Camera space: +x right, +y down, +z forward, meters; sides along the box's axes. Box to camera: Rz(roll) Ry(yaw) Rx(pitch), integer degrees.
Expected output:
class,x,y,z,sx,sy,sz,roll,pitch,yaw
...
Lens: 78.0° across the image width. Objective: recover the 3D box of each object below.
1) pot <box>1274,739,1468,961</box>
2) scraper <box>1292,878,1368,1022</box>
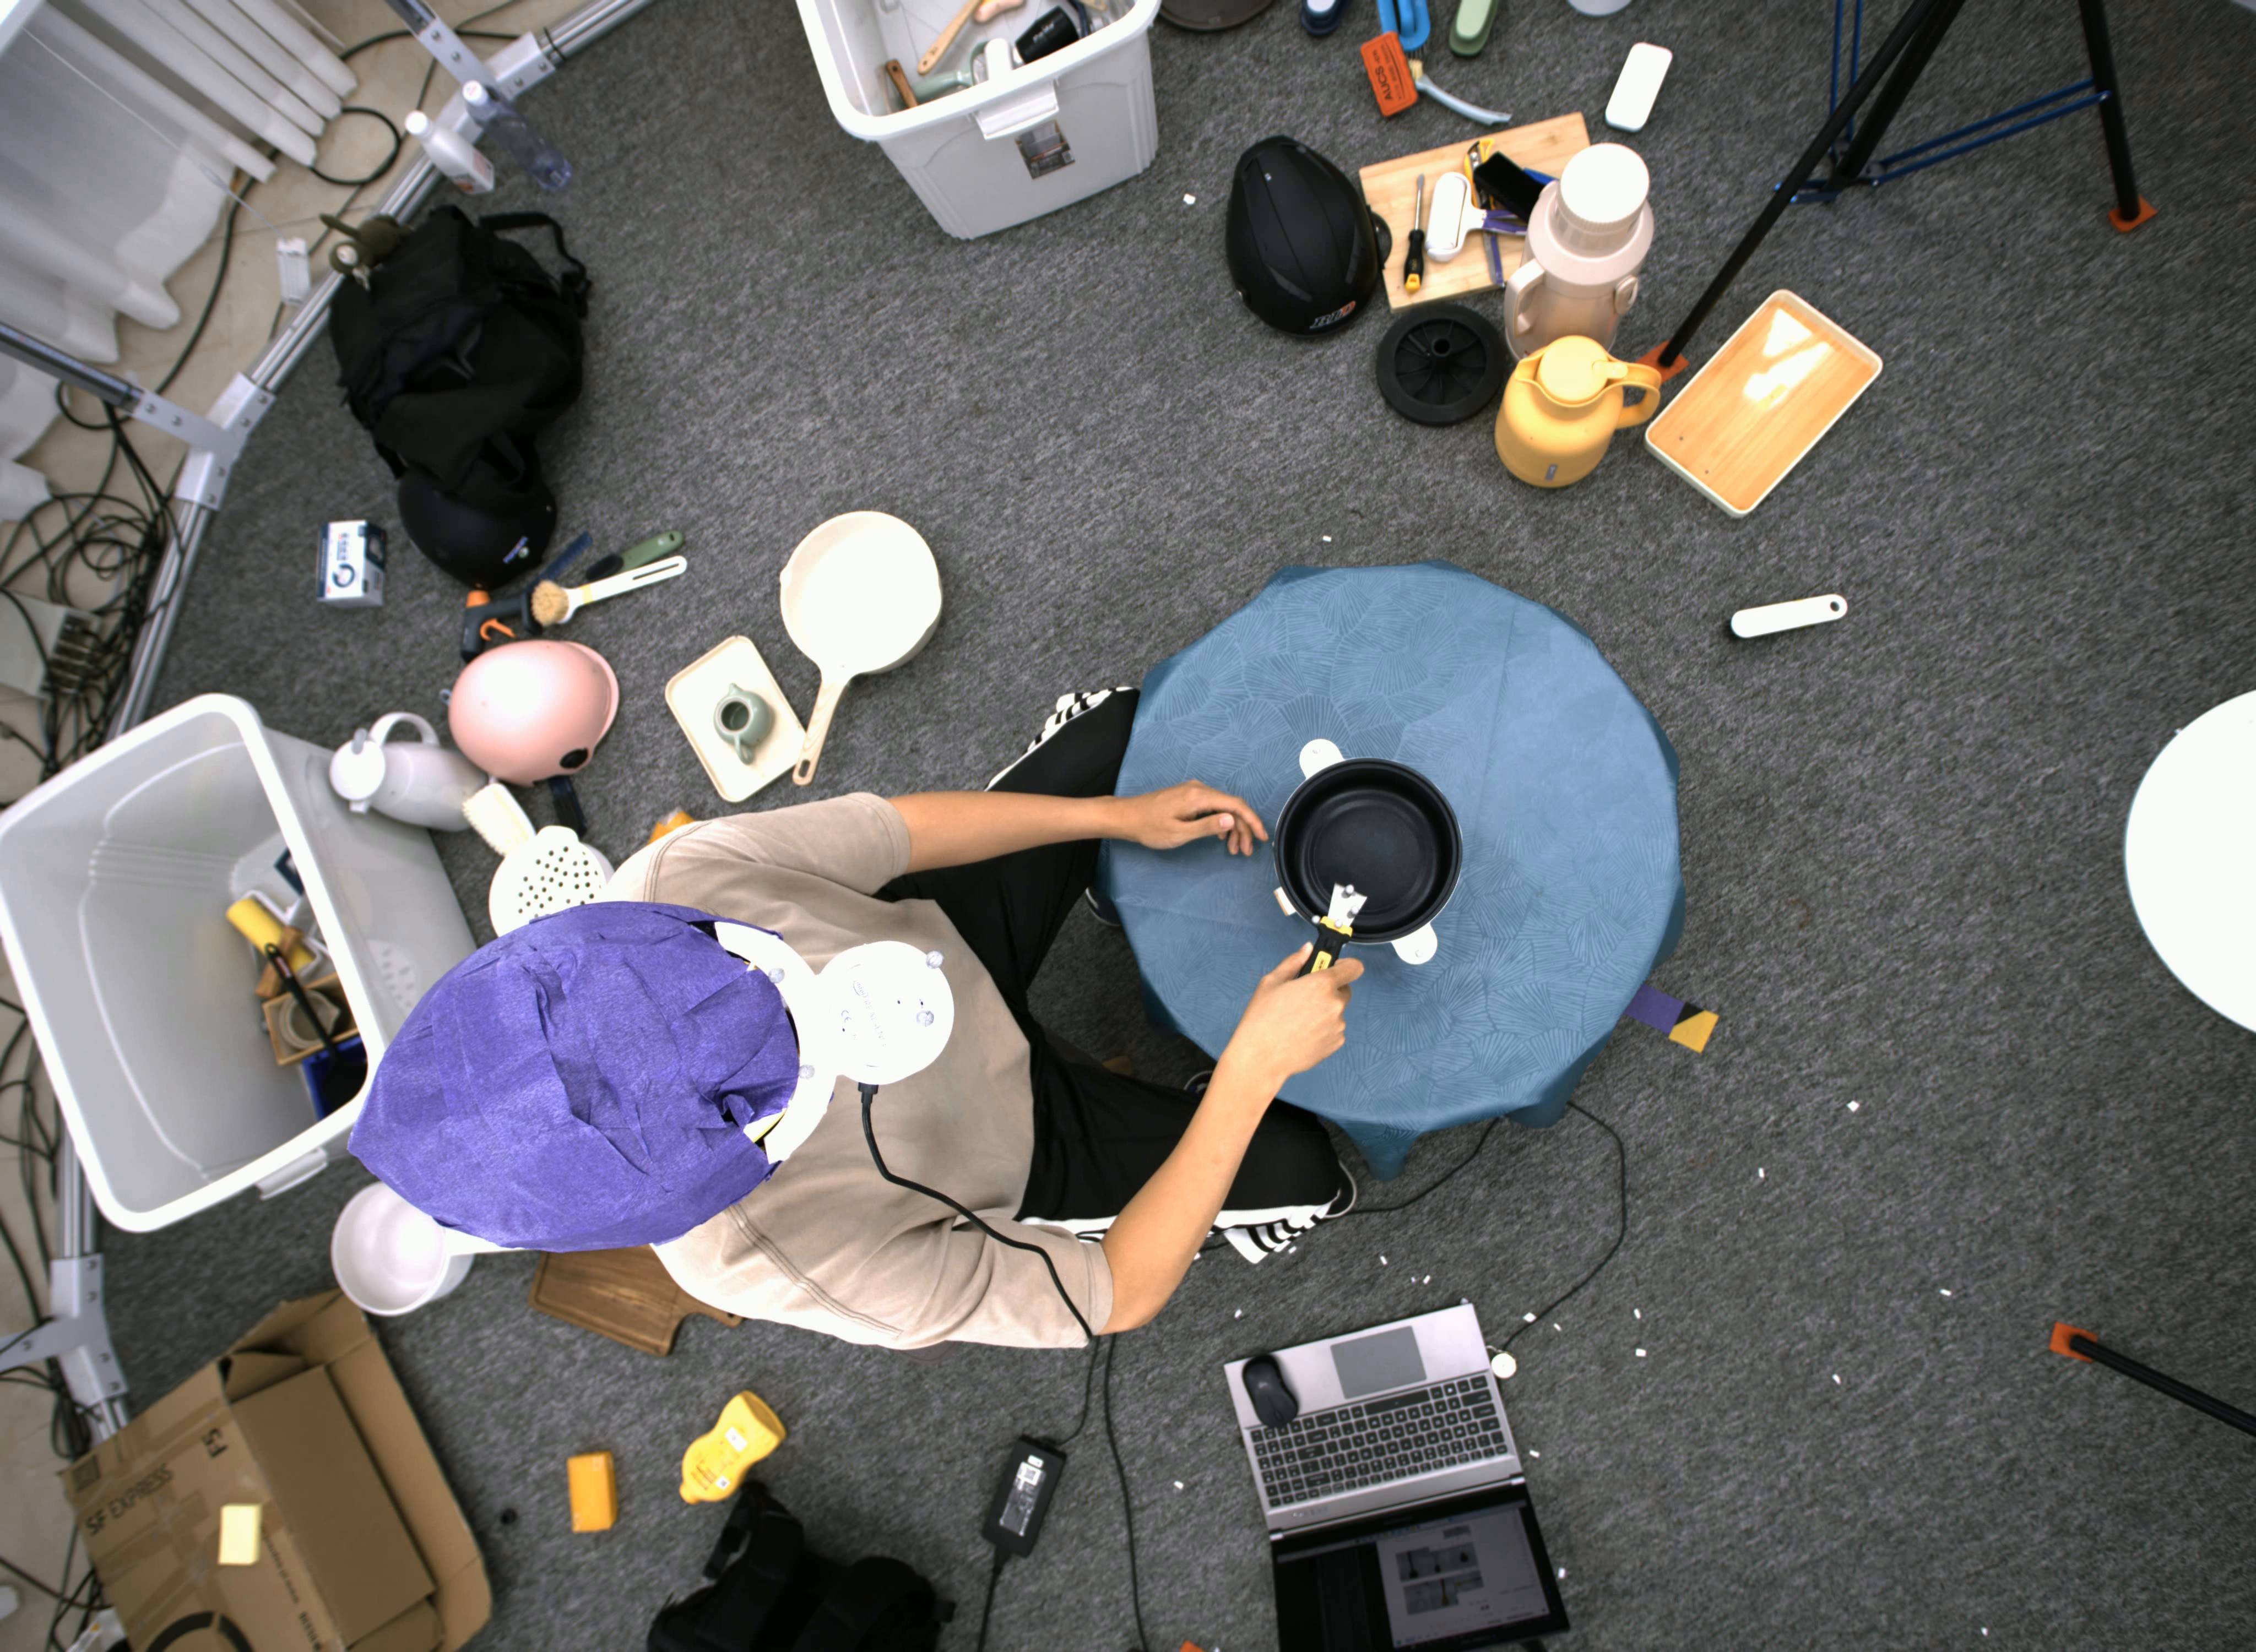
class,x,y,z,sx,sy,sz,roll,pitch,yaw
pot,0.238,0.032,1.399,0.191,0.143,0.238,-27,81,3
scraper,0.187,0.114,1.284,0.039,0.015,0.166,26,50,2
